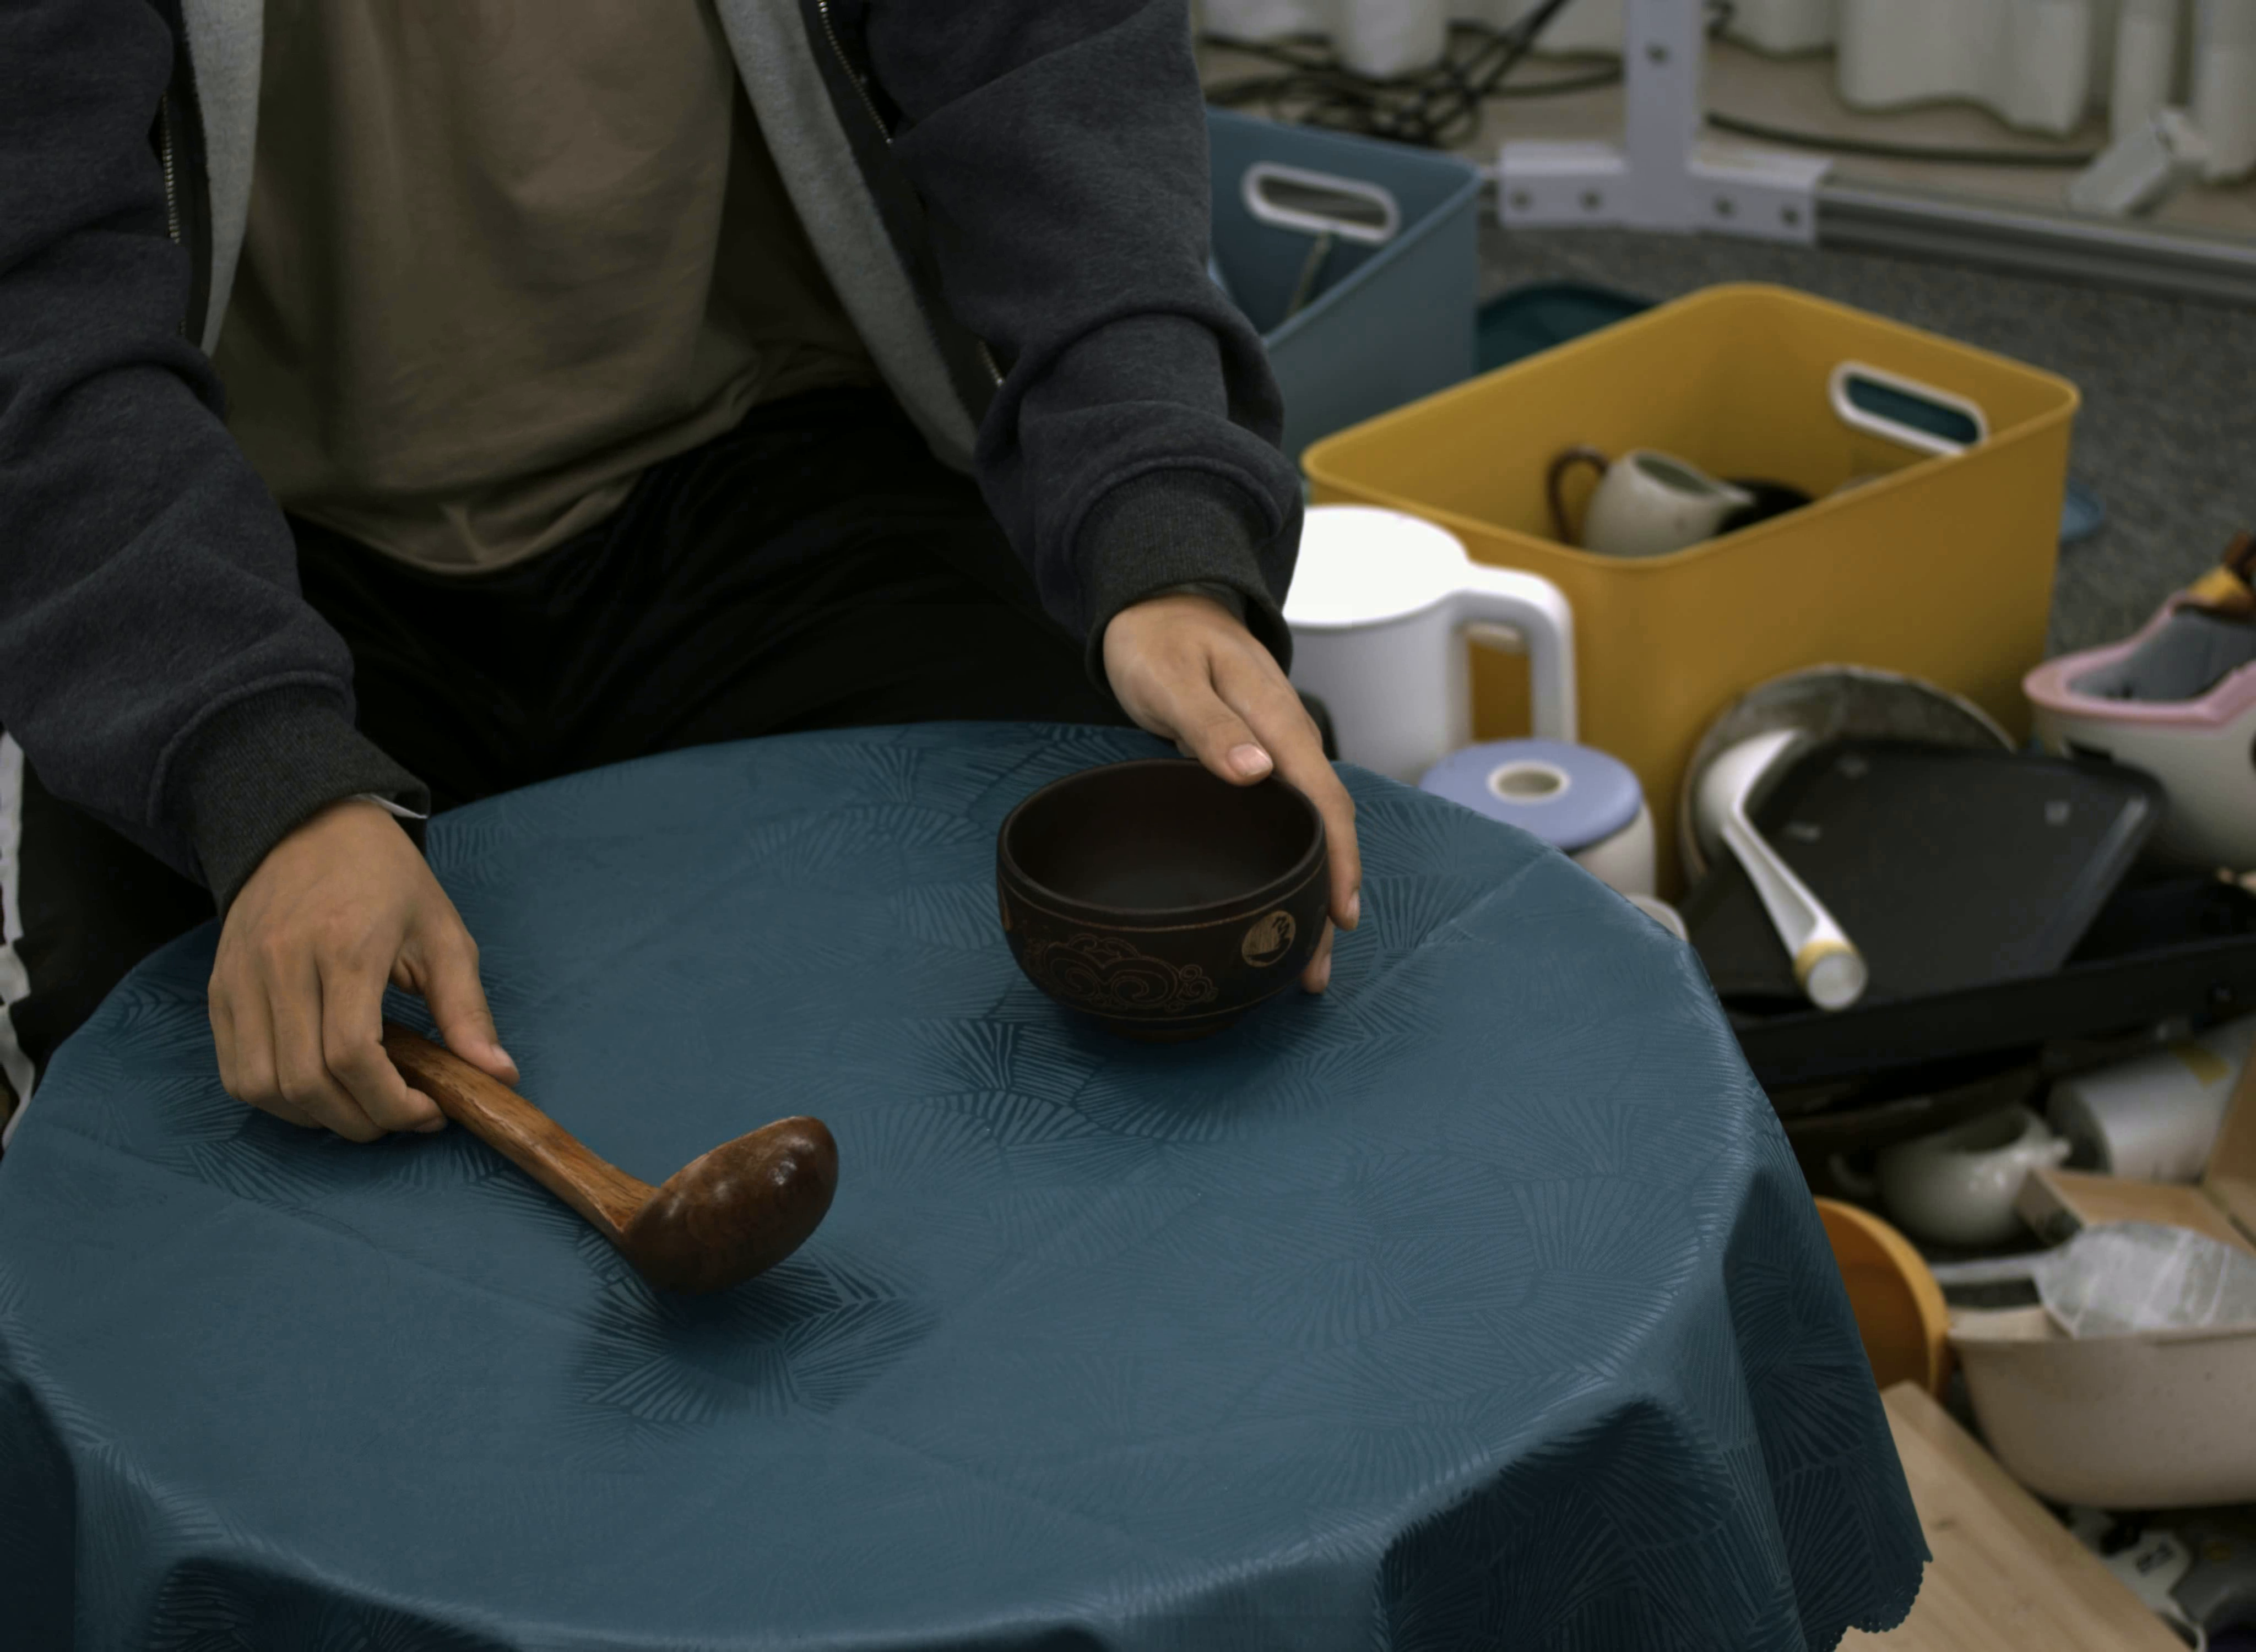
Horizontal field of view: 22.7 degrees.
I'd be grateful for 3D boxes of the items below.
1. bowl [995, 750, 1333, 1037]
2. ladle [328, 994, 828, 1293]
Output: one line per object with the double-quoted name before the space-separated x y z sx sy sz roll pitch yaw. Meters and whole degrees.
"bowl" 0.014 0.030 1.958 0.117 0.069 0.120 -3 28 2
"ladle" -0.196 0.085 1.868 0.082 0.076 0.274 -17 31 -33
